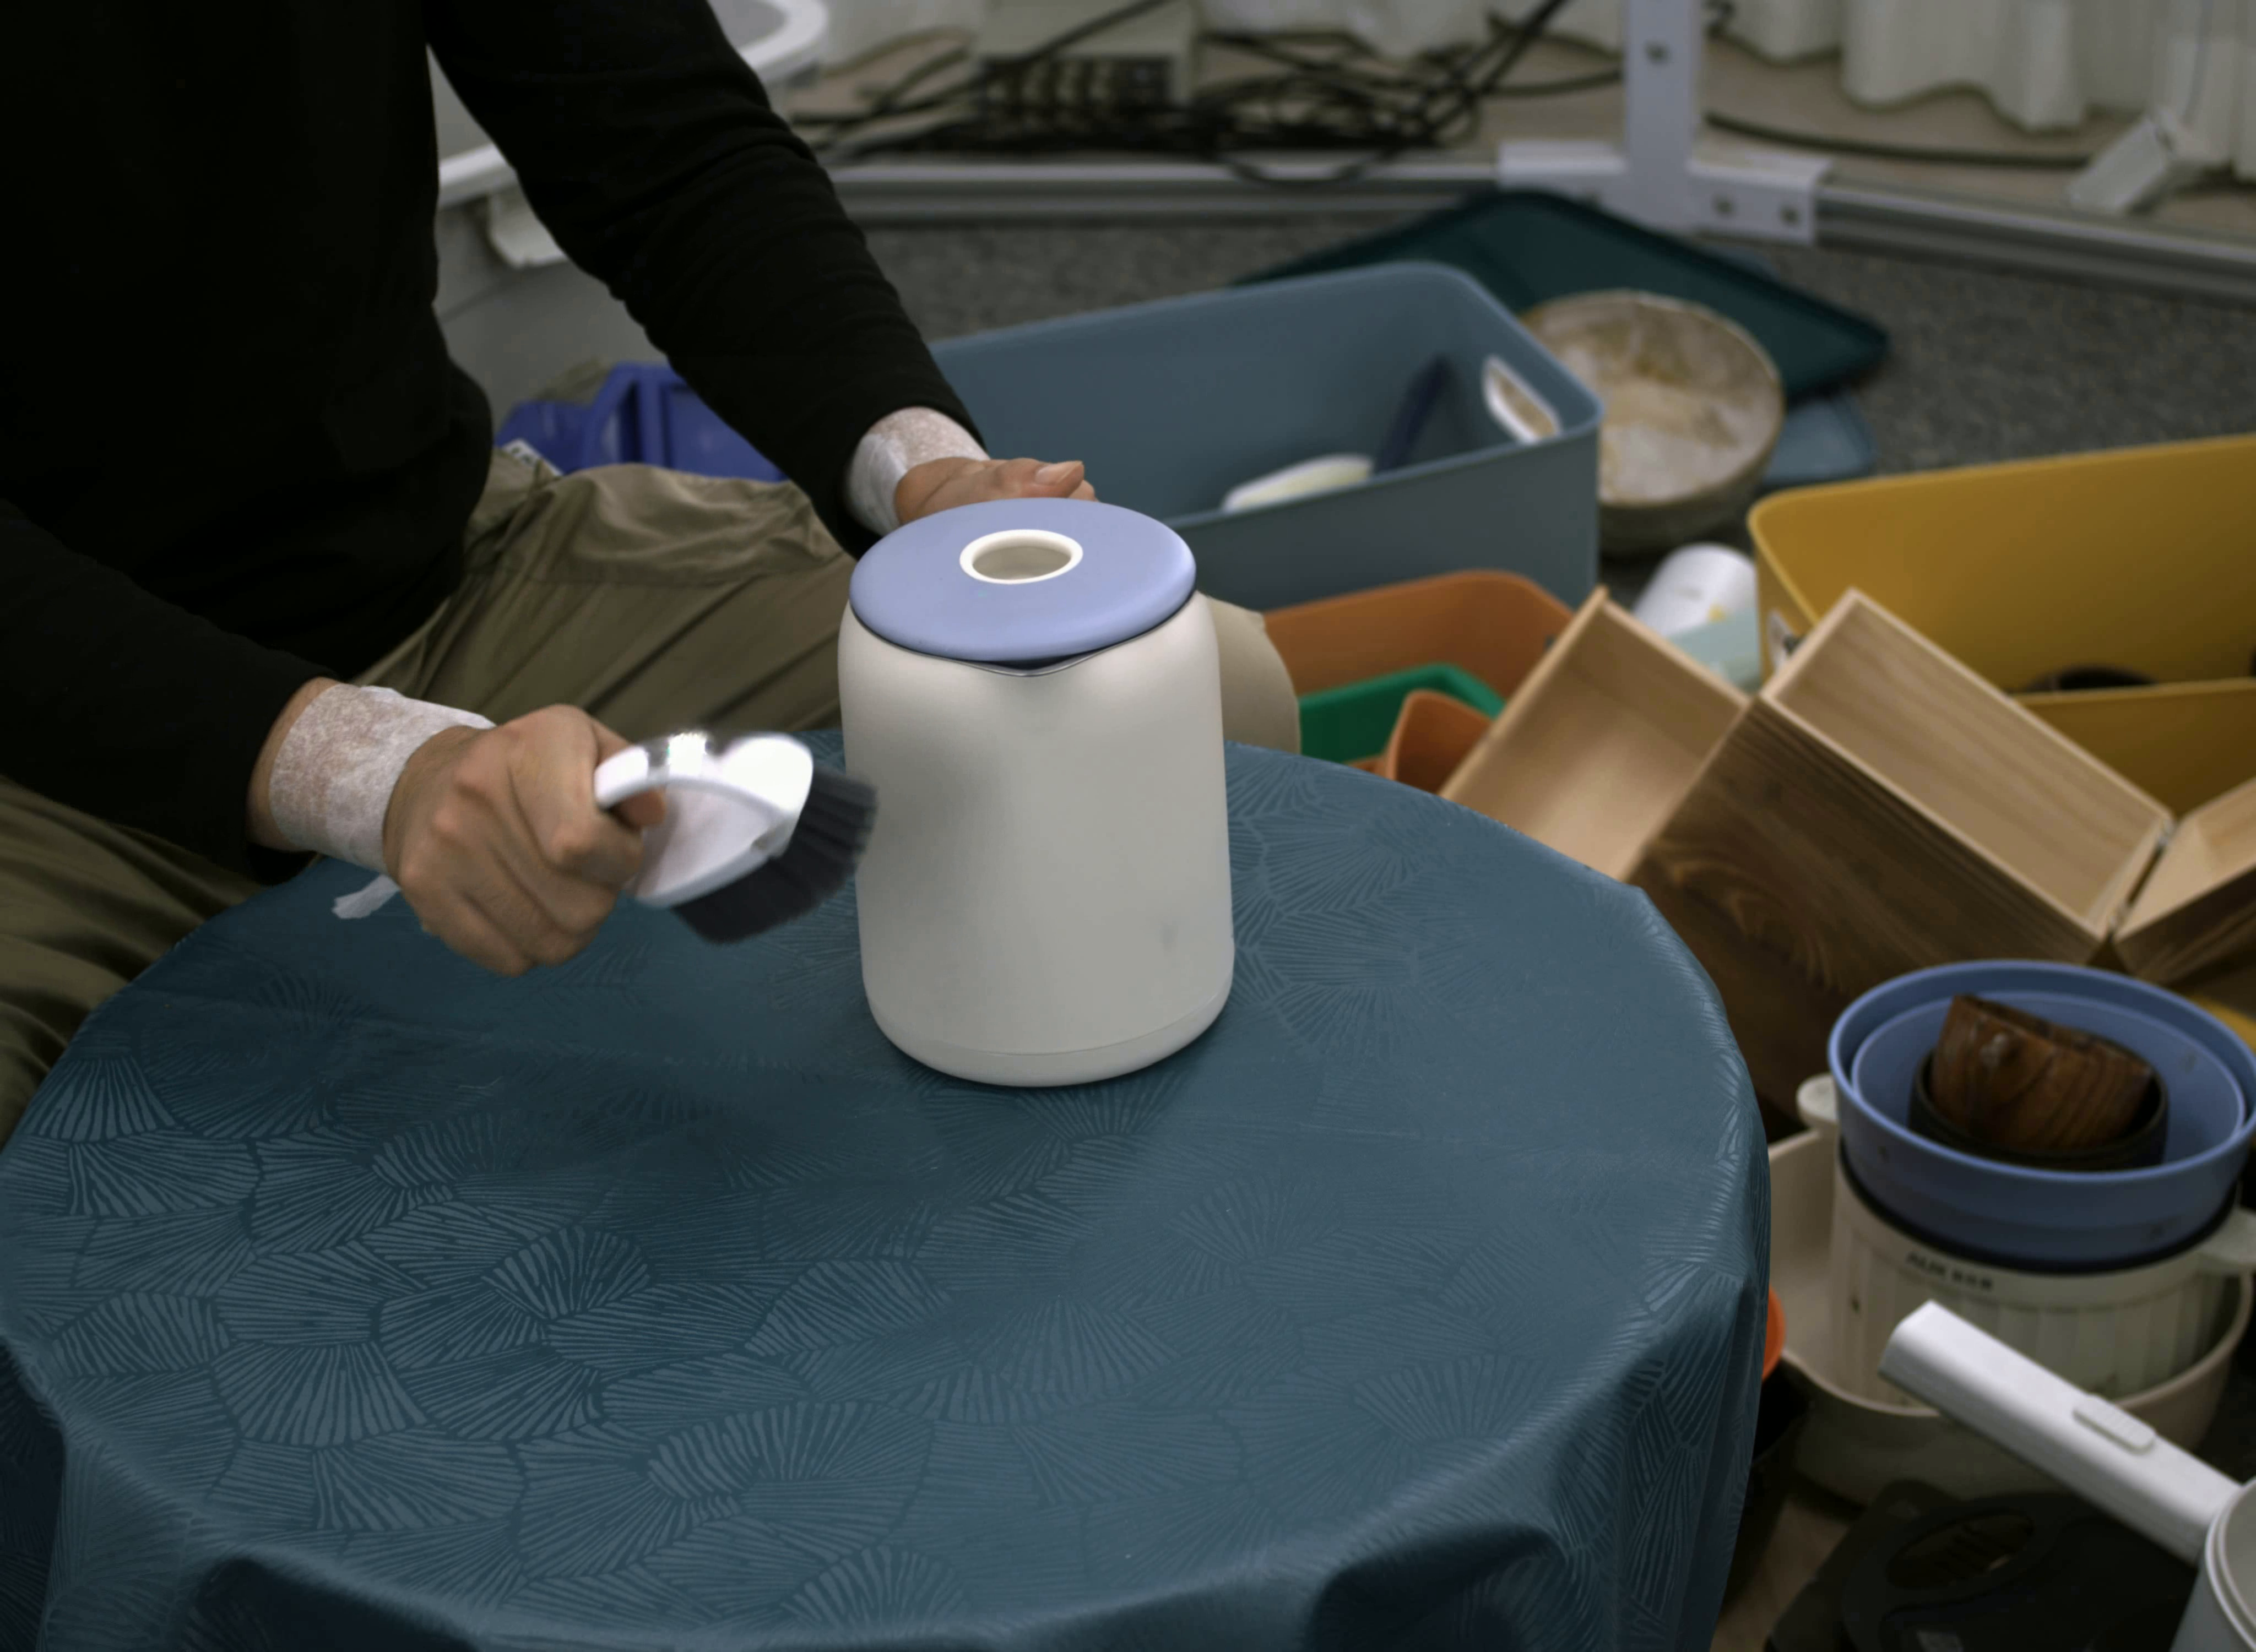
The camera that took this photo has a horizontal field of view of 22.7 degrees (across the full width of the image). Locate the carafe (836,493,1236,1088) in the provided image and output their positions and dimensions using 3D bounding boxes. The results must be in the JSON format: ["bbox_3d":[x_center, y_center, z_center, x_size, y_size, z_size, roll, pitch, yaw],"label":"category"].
[{"bbox_3d":[-0.034,-0.024,1.962,0.132,0.181,0.193,-5,25,-4],"label":"carafe"}]

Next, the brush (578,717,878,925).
[{"bbox_3d":[-0.137,-0.008,1.823,0.072,0.051,0.098,27,-29,-28],"label":"brush"}]
